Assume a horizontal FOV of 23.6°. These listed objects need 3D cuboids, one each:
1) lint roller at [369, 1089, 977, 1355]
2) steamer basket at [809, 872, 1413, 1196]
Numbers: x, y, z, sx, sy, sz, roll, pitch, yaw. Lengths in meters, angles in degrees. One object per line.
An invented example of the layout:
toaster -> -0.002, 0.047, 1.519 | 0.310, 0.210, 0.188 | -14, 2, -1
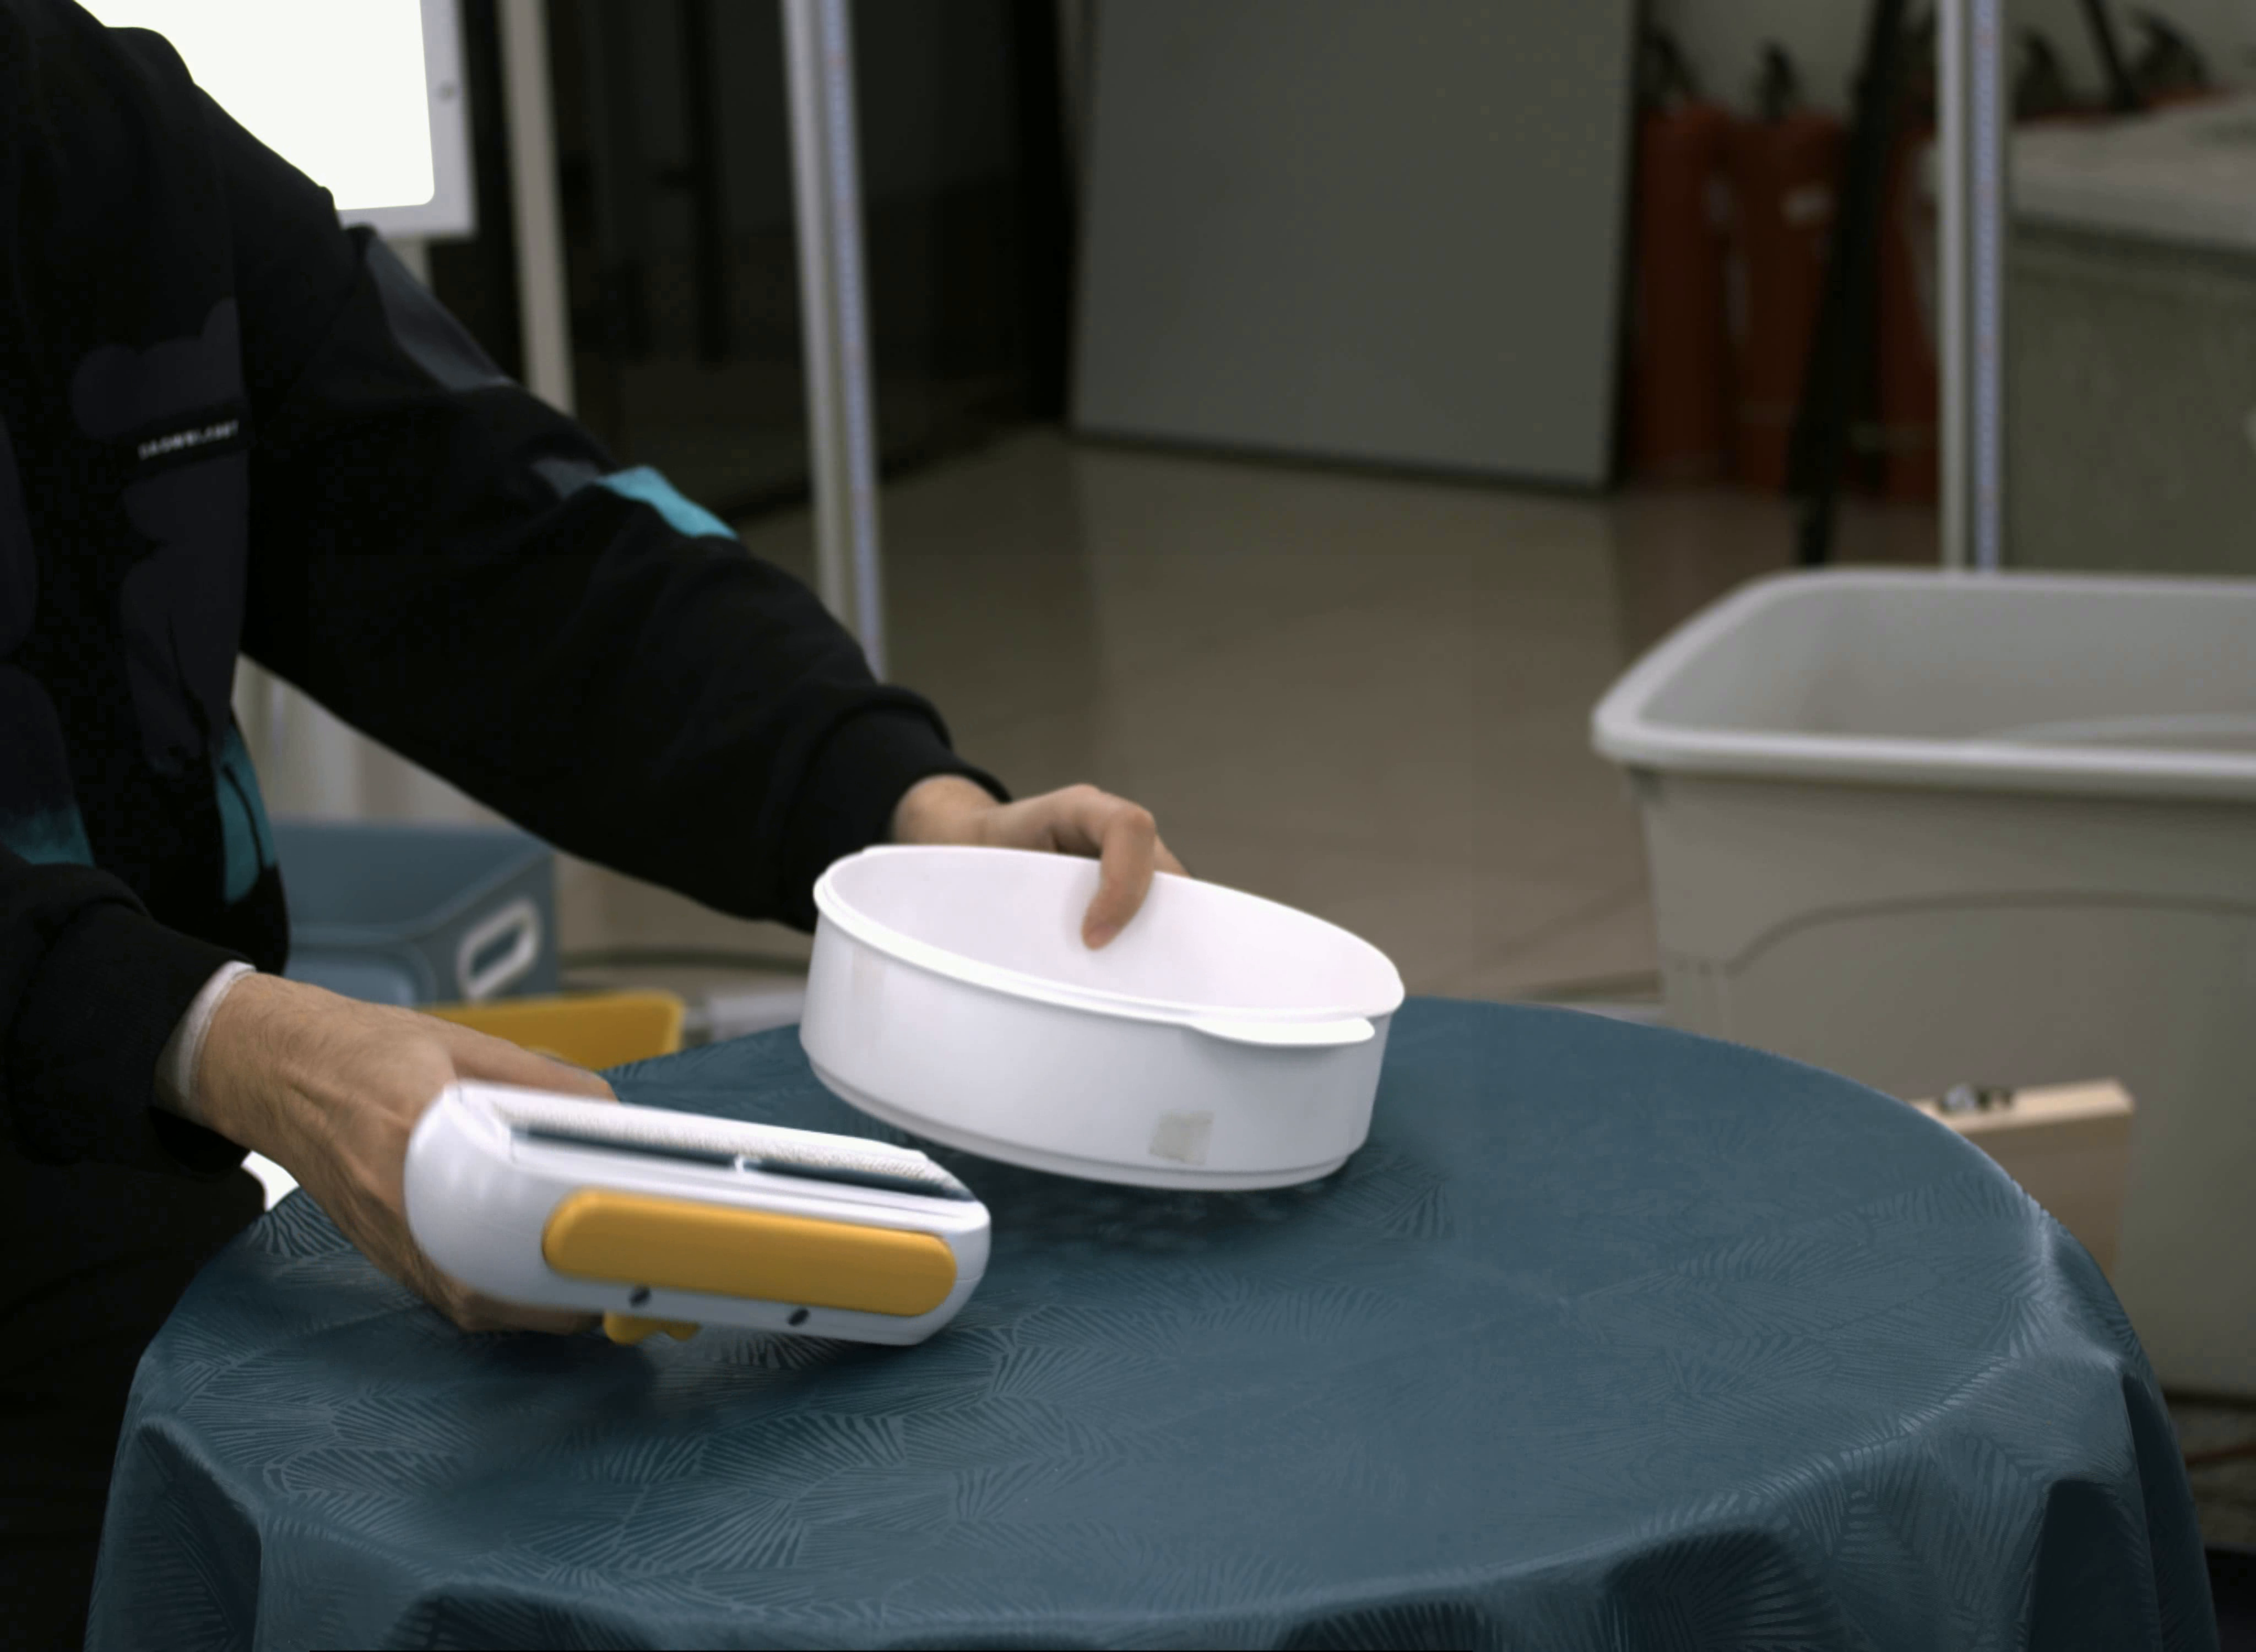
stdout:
lint roller -> -0.163, 0.109, 1.653 | 0.188, 0.075, 0.194 | 5, 13, -31
steamer basket -> -0.008, 0.069, 1.786 | 0.197, 0.070, 0.233 | 2, 11, -36
